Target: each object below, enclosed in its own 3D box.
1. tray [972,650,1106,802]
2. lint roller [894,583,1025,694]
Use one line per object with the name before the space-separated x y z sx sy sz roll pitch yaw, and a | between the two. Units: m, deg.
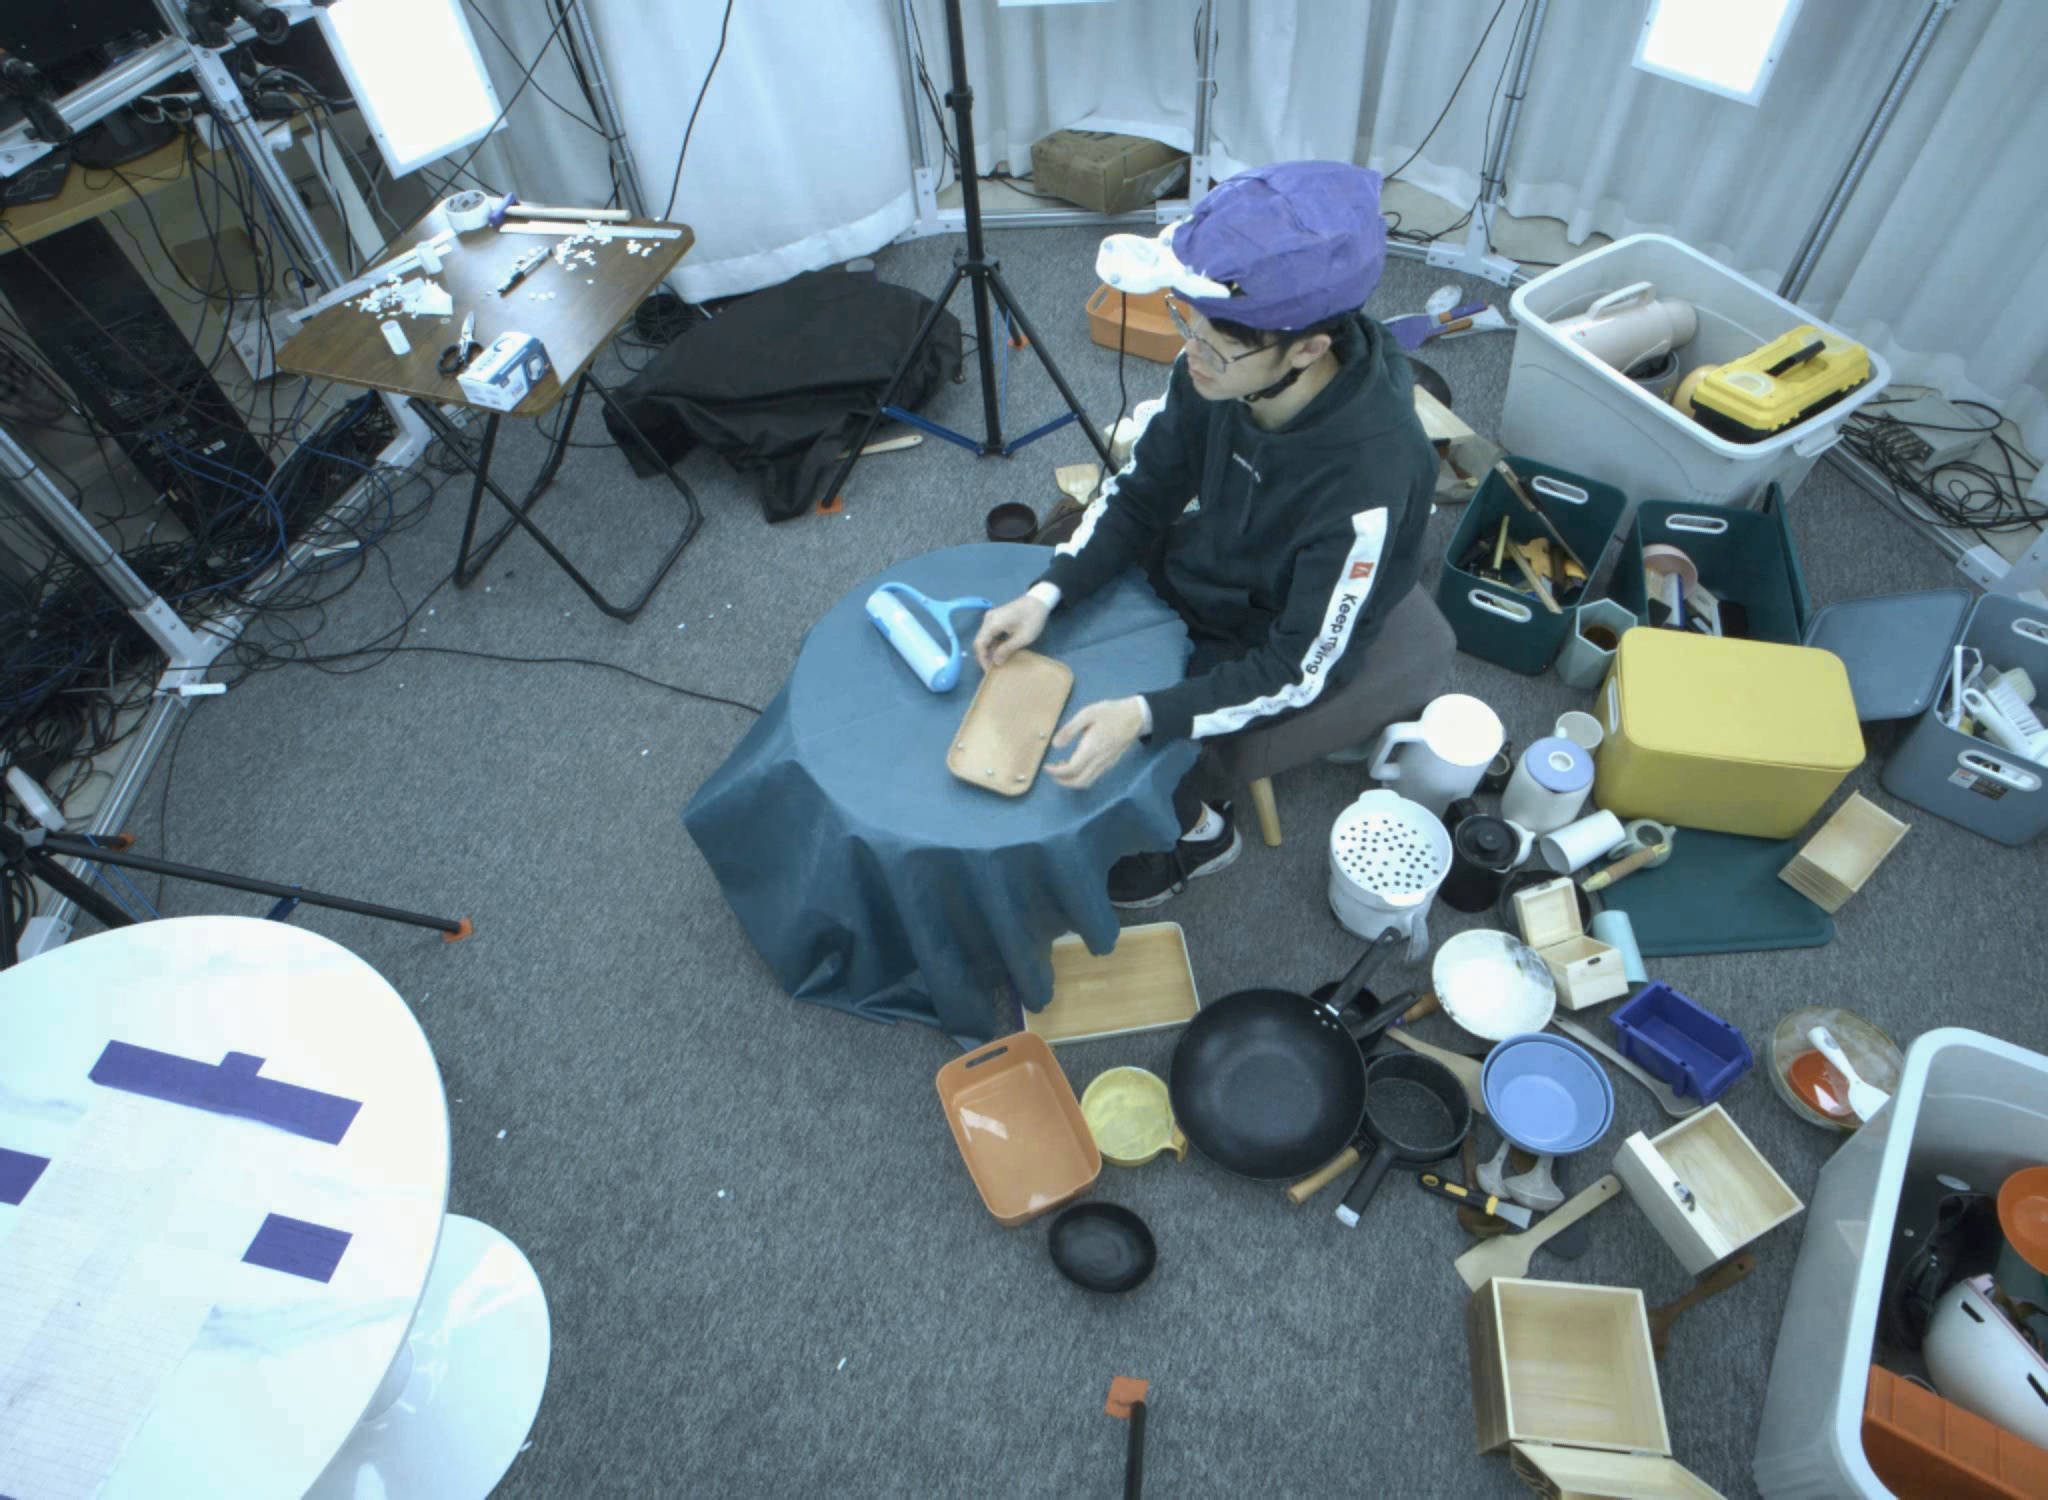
tray | 0.024 -0.037 1.786 0.130 0.023 0.251 25 58 3
lint roller | -0.080 -0.196 1.890 0.181 0.069 0.224 -32 58 -18
